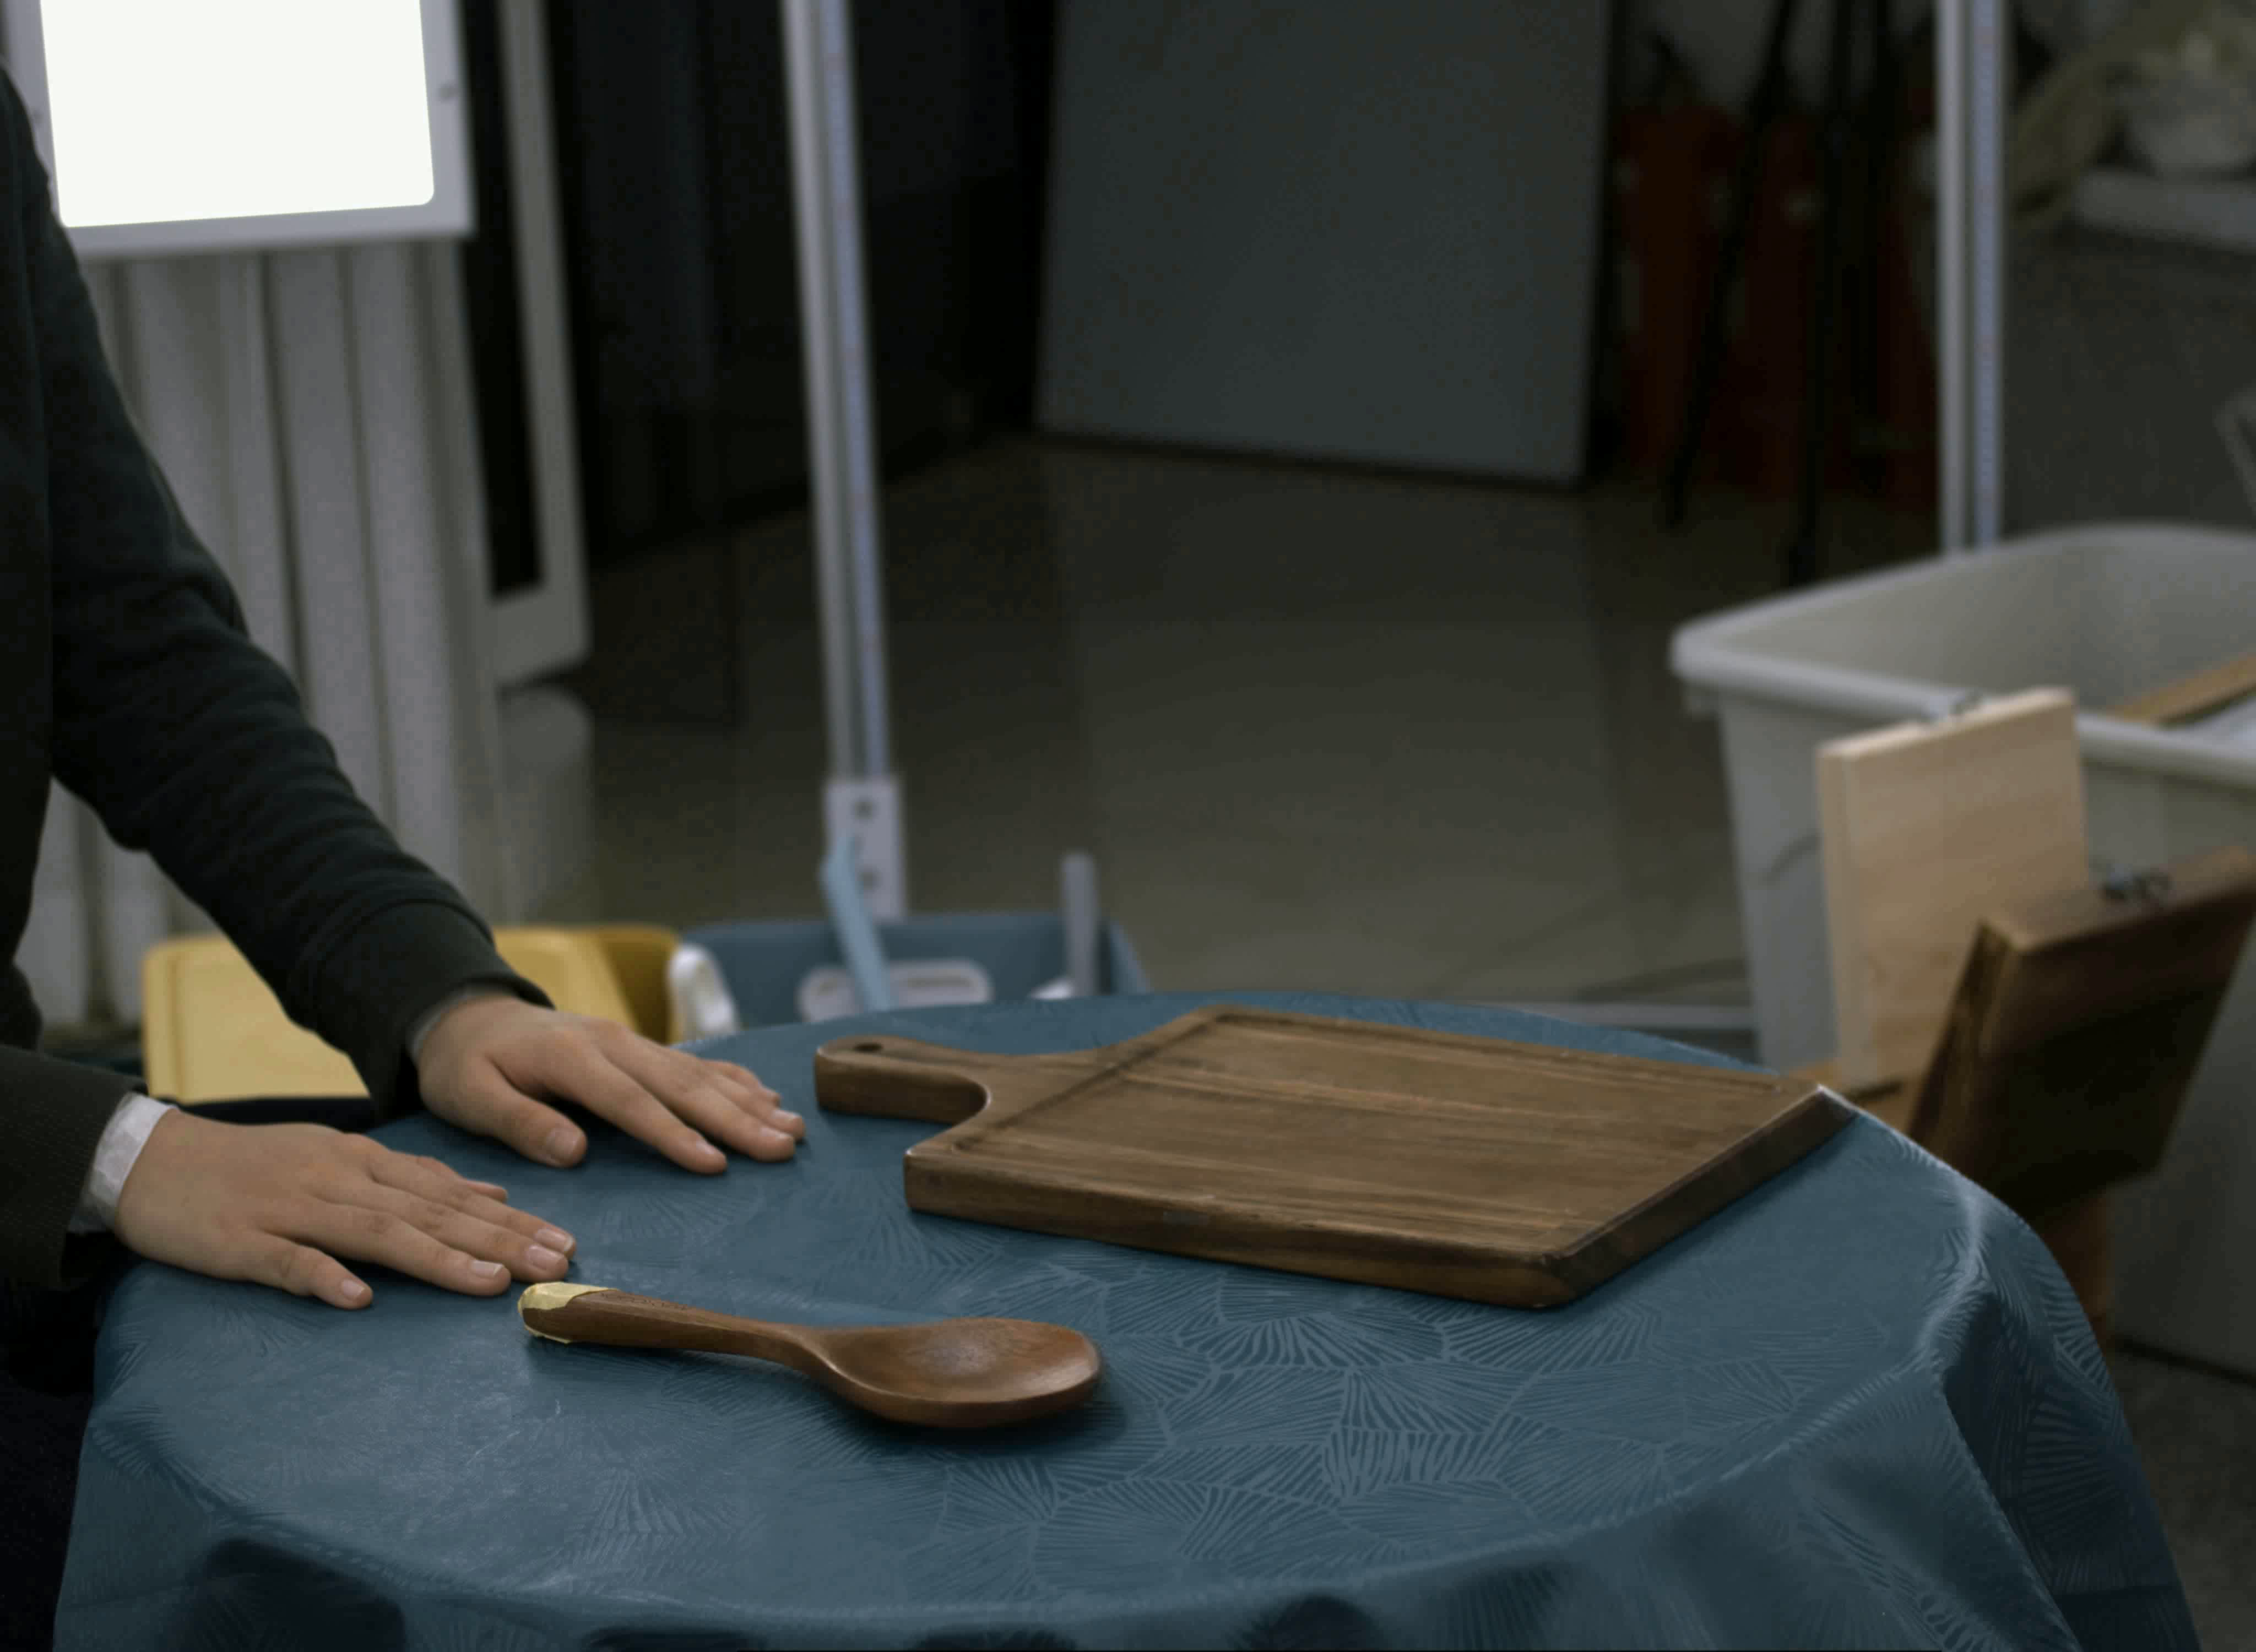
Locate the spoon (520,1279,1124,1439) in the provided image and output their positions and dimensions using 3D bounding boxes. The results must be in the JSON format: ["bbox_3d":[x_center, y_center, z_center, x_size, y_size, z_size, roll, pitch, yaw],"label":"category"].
[{"bbox_3d":[-0.095,0.158,1.615,0.217,0.017,0.074,6,19,34],"label":"spoon"}]

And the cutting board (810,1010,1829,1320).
[{"bbox_3d":[0.039,0.103,1.797,0.354,0.023,0.198,5,18,35],"label":"cutting board"}]
